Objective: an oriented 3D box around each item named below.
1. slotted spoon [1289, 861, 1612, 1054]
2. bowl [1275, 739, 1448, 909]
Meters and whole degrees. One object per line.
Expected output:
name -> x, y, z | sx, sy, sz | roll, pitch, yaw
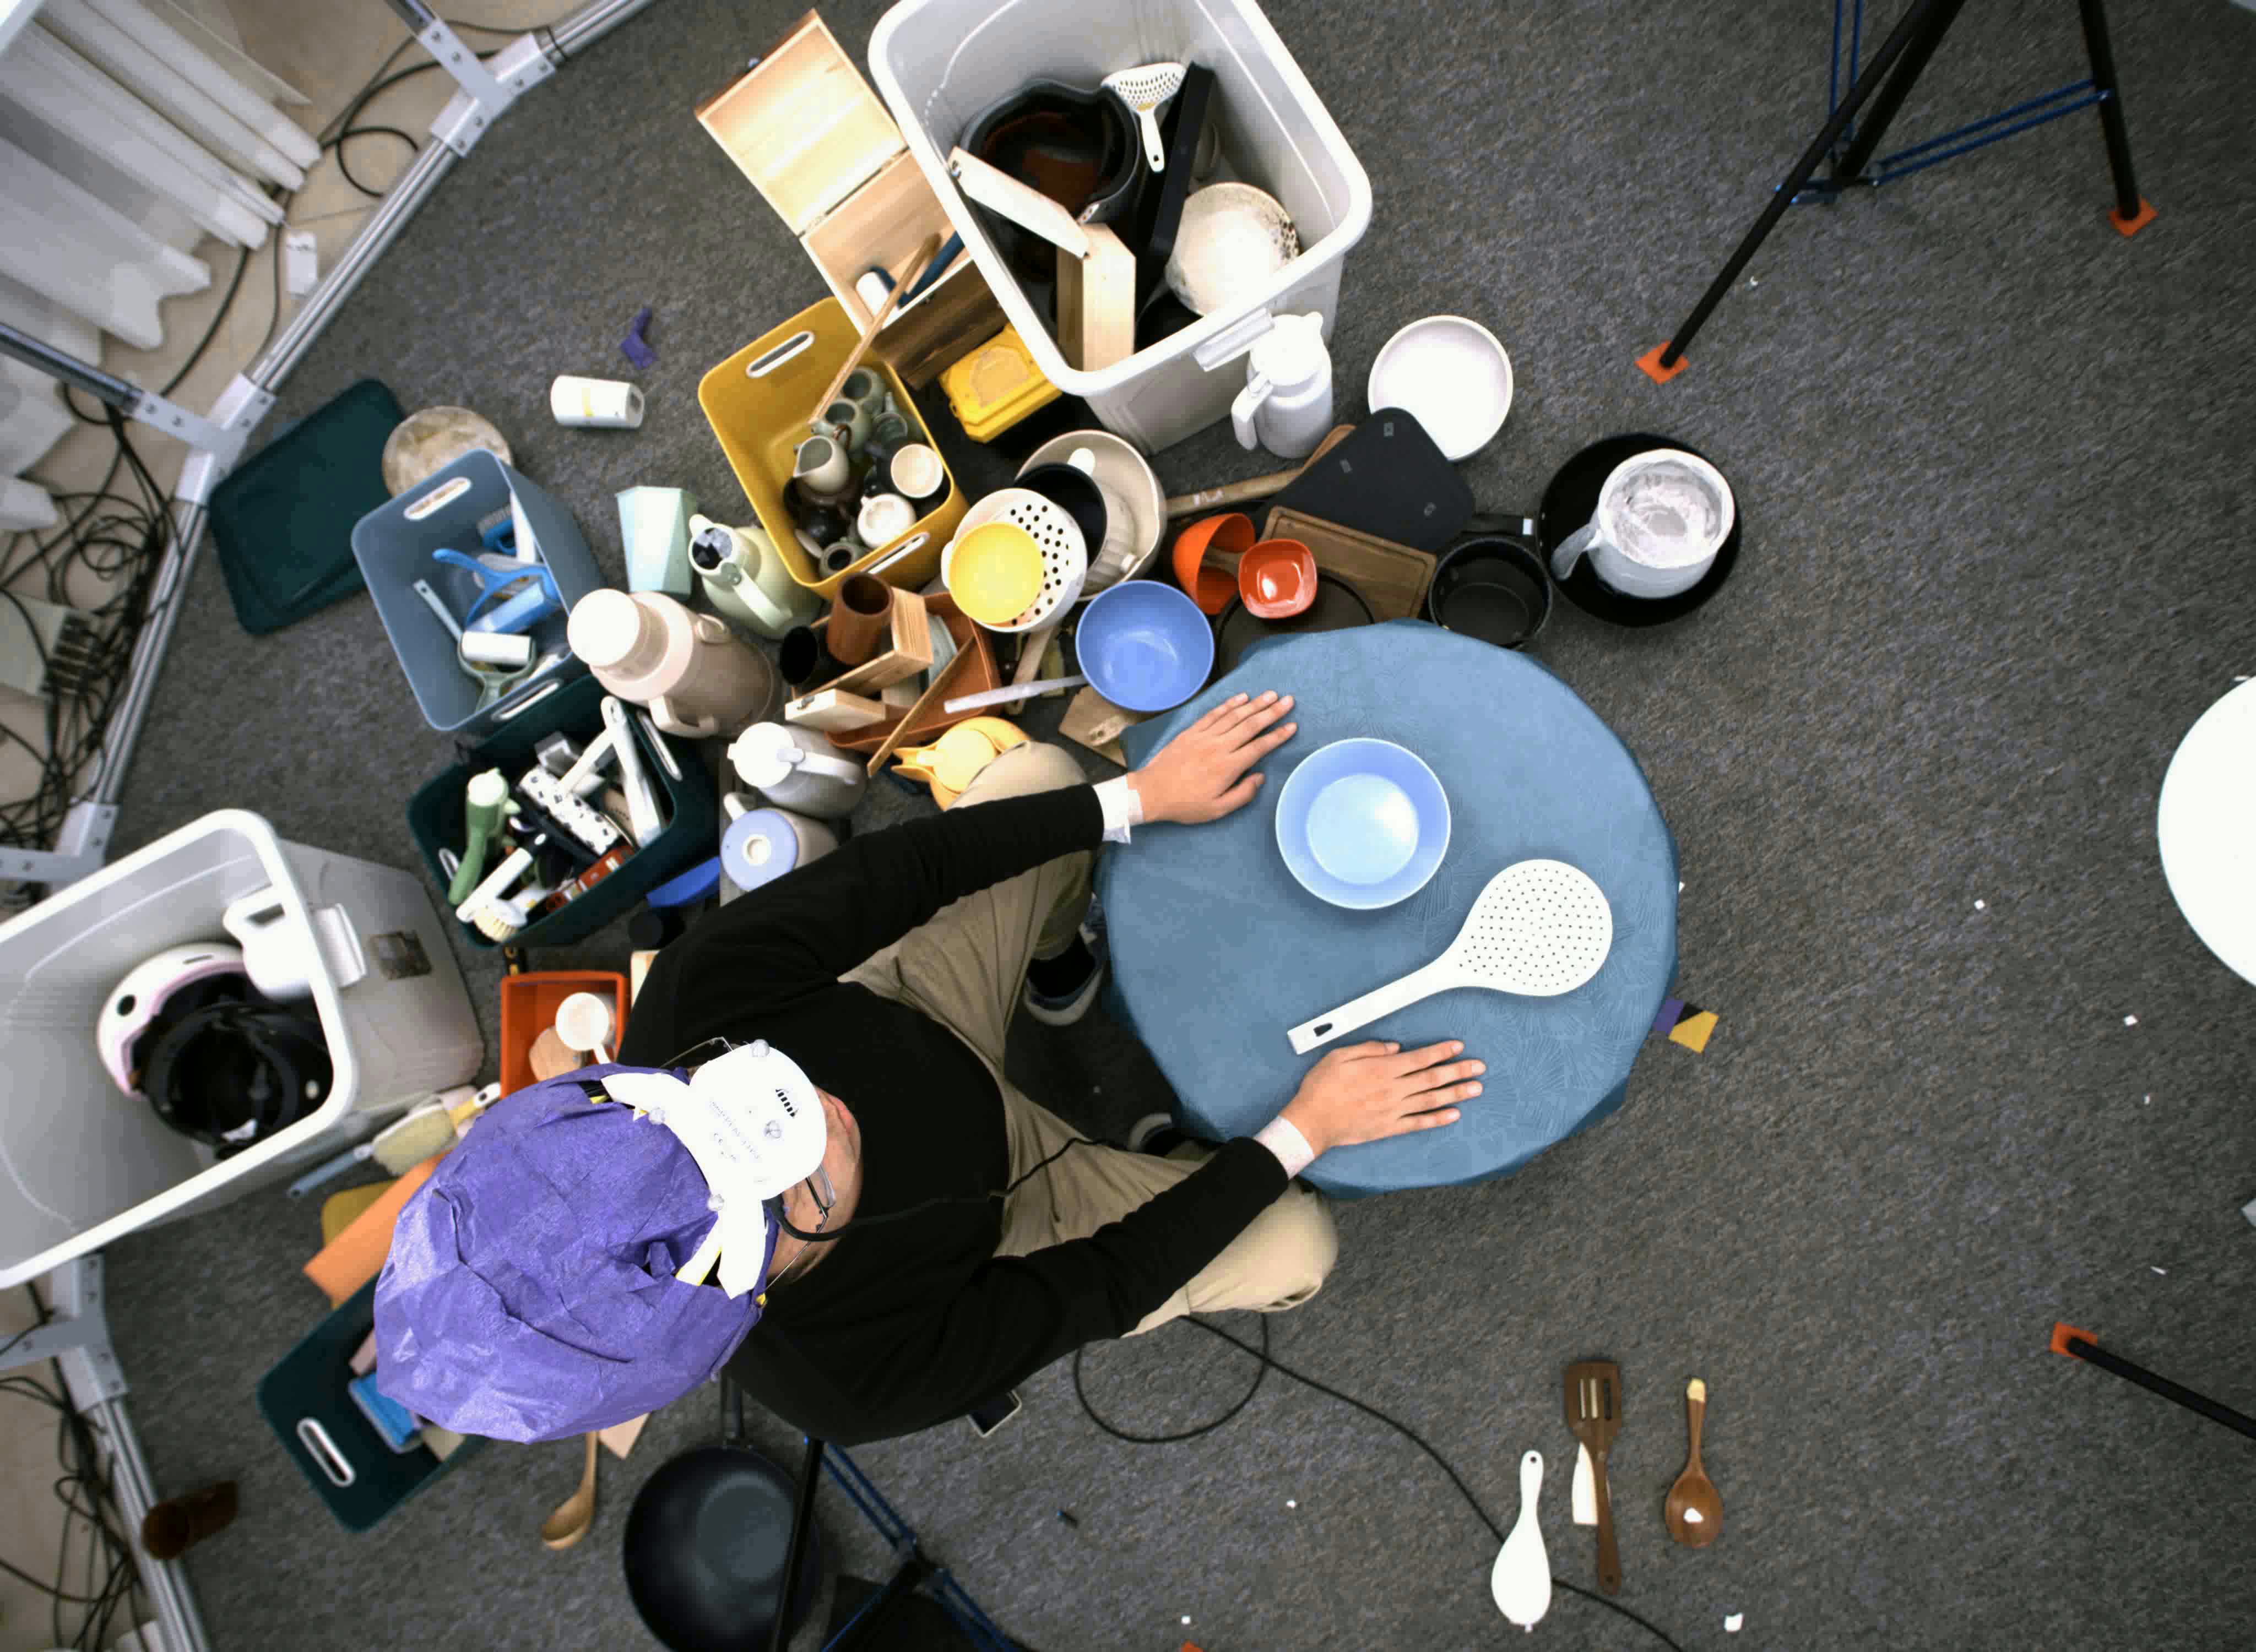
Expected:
slotted spoon -> 0.327, 0.151, 1.422 | 0.352, 0.046, 0.135 | -27, 82, 9
bowl -> 0.242, -0.001, 1.434 | 0.177, 0.070, 0.175 | -1, 87, 11
